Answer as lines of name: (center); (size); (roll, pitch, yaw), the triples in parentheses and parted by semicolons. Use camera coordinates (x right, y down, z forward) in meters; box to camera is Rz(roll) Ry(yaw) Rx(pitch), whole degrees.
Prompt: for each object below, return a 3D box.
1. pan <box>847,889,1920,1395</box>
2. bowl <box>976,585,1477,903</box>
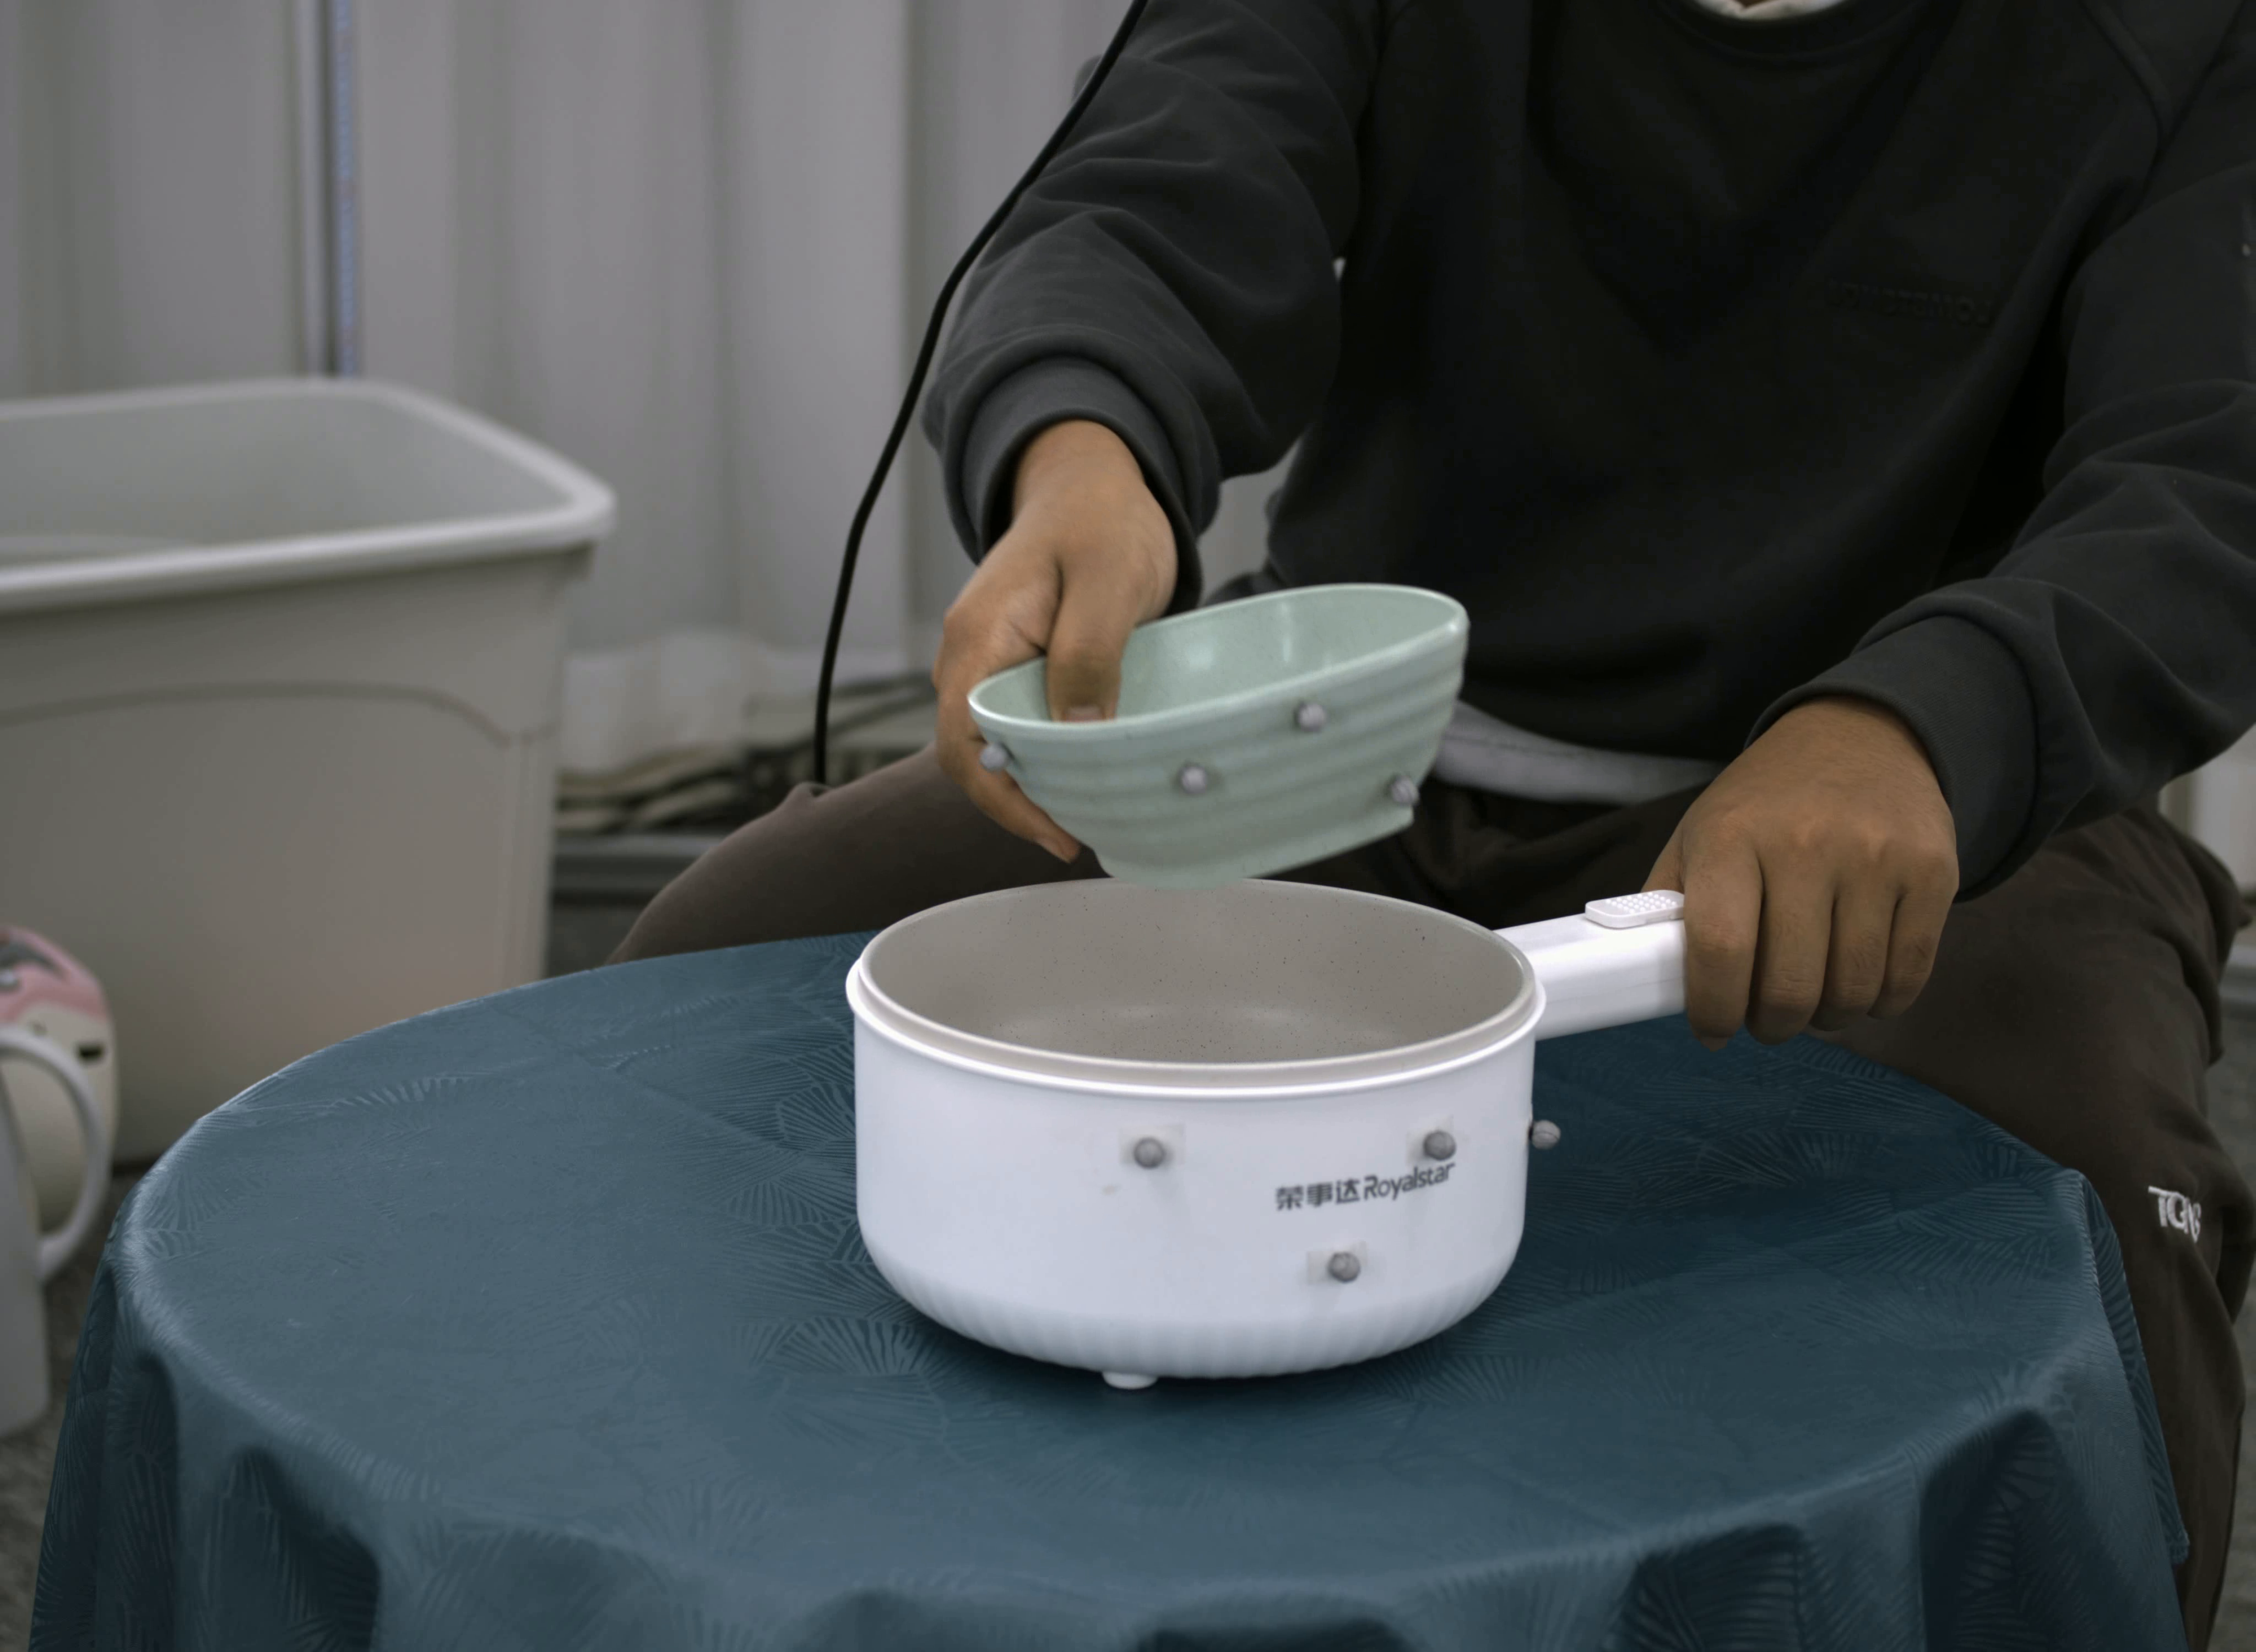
pan: (0.084, 0.085, 1.564); (0.356, 0.103, 0.198); (-7, 15, -32)
bowl: (0.033, -0.021, 1.510); (0.151, 0.059, 0.150); (-11, 14, 4)
